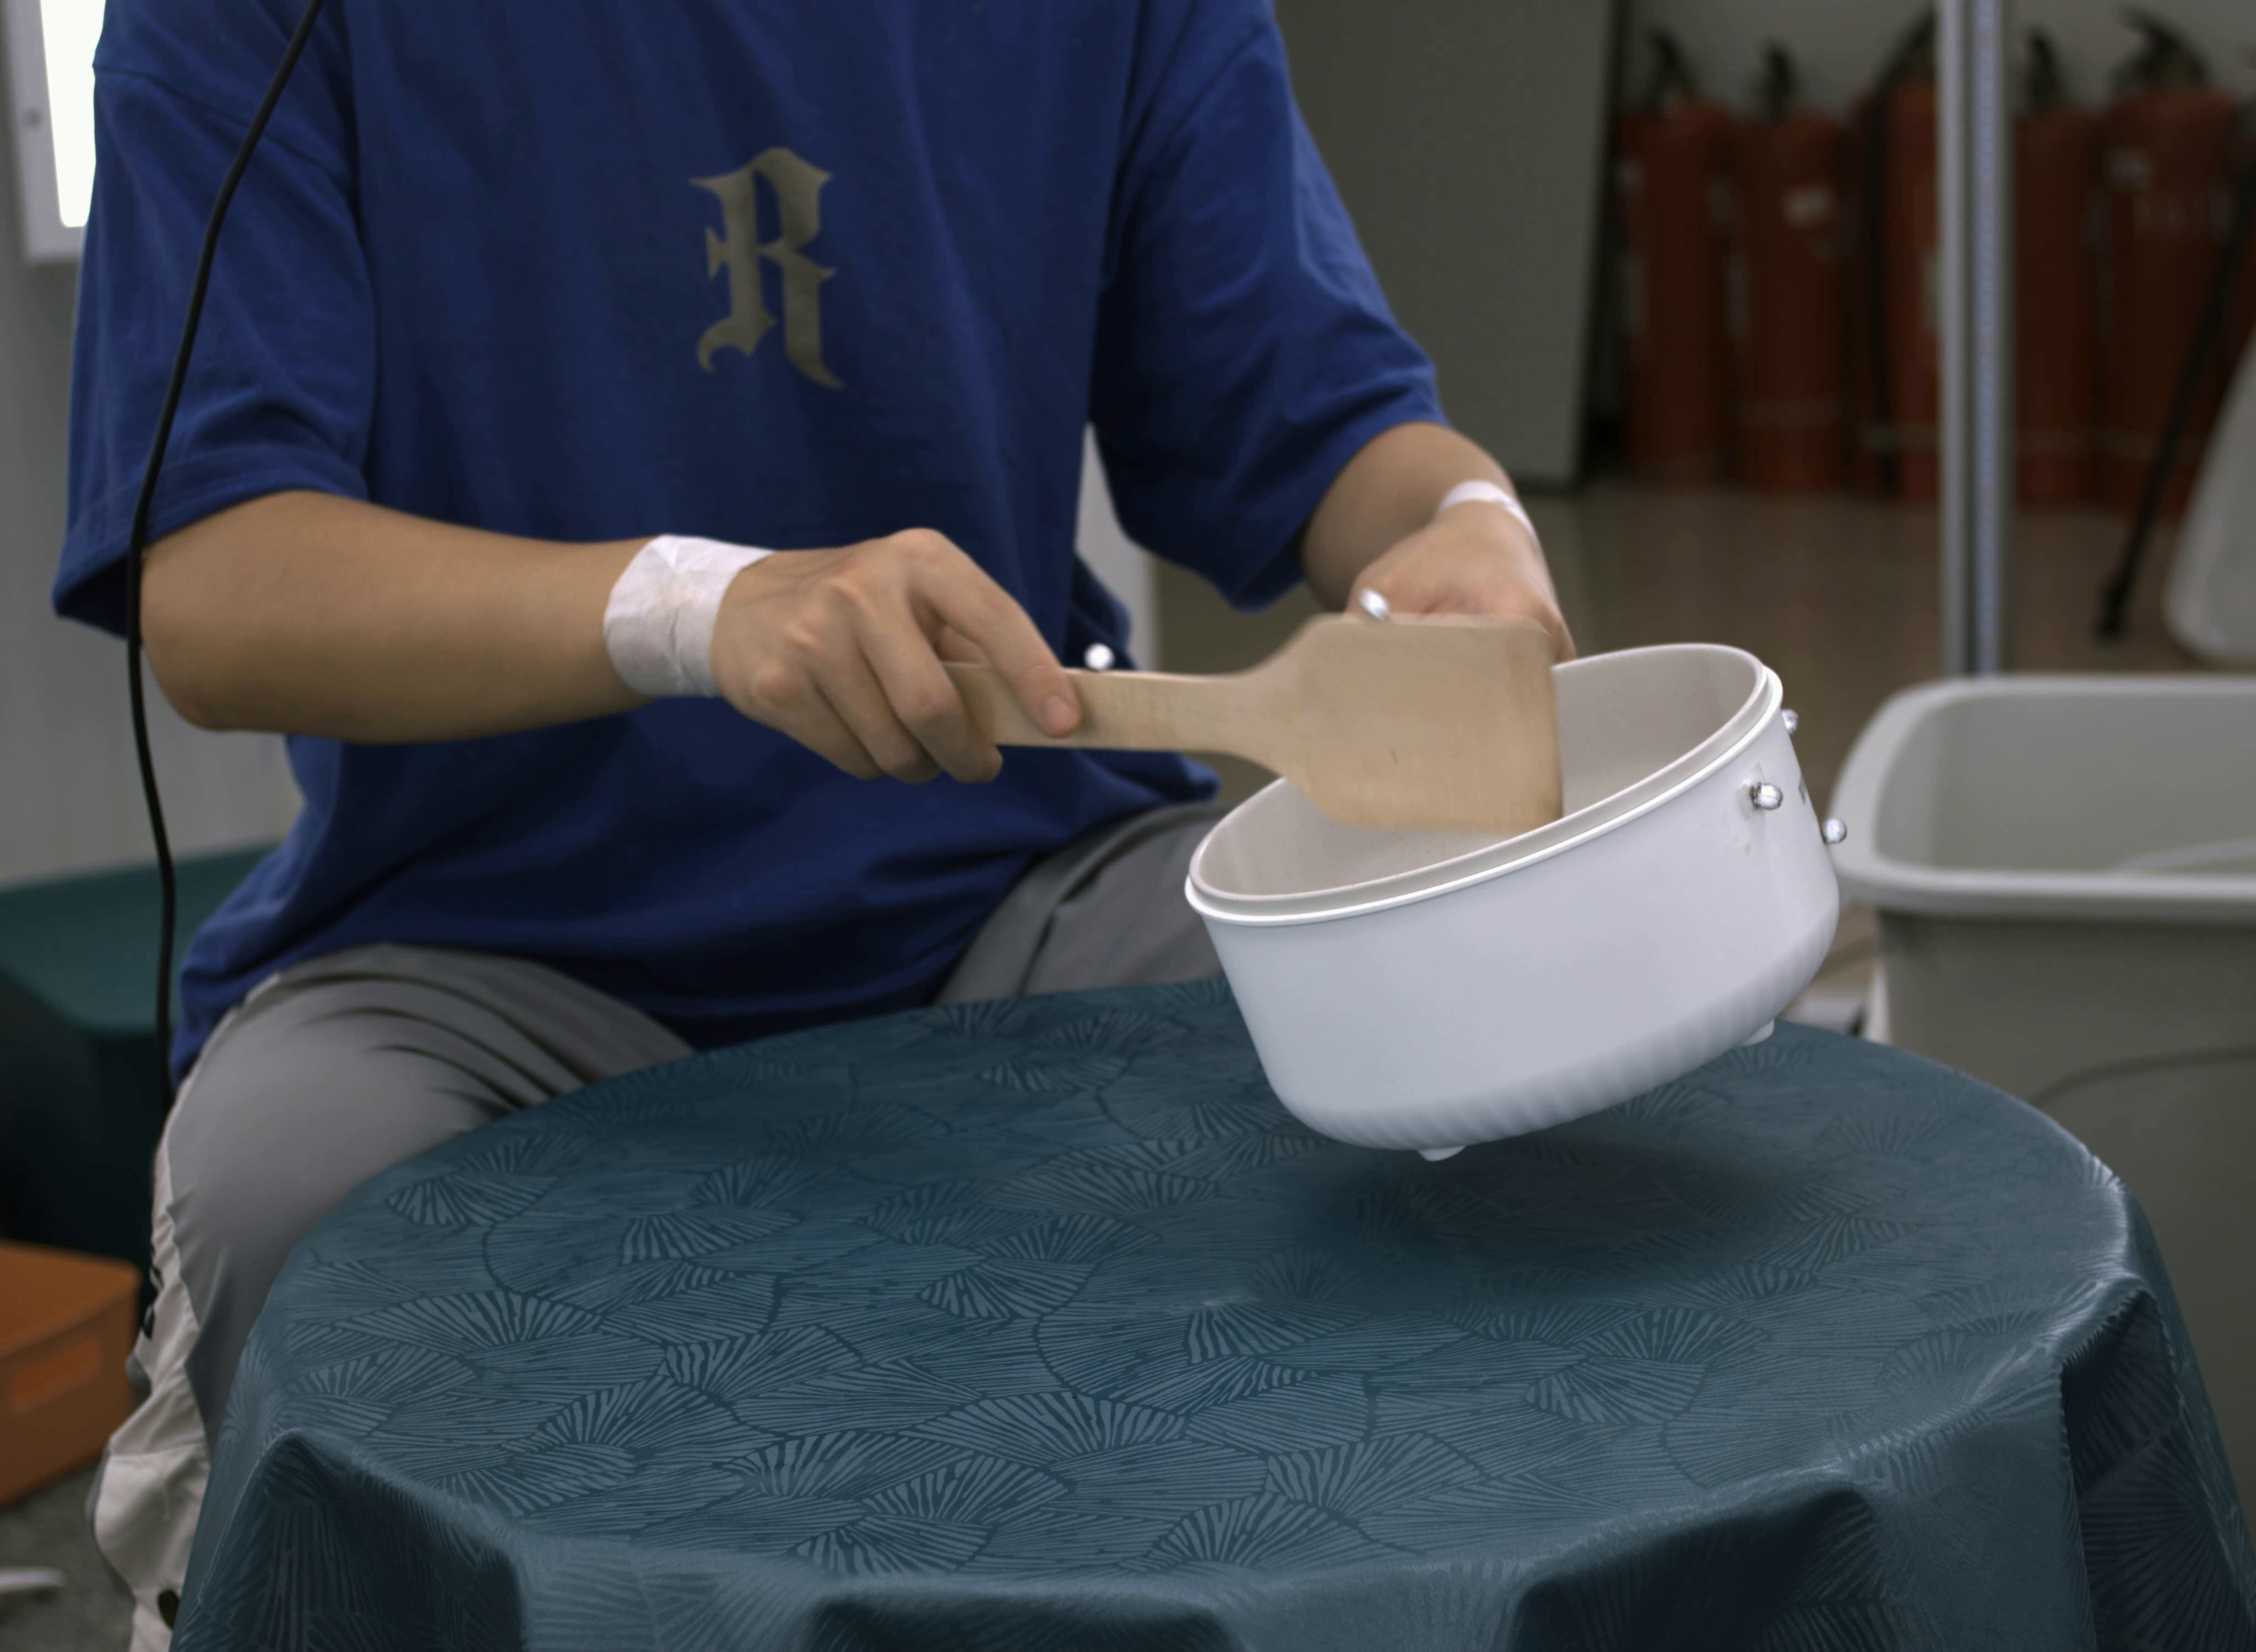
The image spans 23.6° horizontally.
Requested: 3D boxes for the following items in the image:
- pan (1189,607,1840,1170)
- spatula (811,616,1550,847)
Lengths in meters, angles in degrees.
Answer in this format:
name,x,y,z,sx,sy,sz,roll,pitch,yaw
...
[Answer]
name,x,y,z,sx,sy,sz,roll,pitch,yaw
pan,0.122,0.010,1.791,0.199,0.102,0.356,-23,13,2
spatula,0.011,-0.037,1.769,0.295,0.073,0.010,4,12,36
